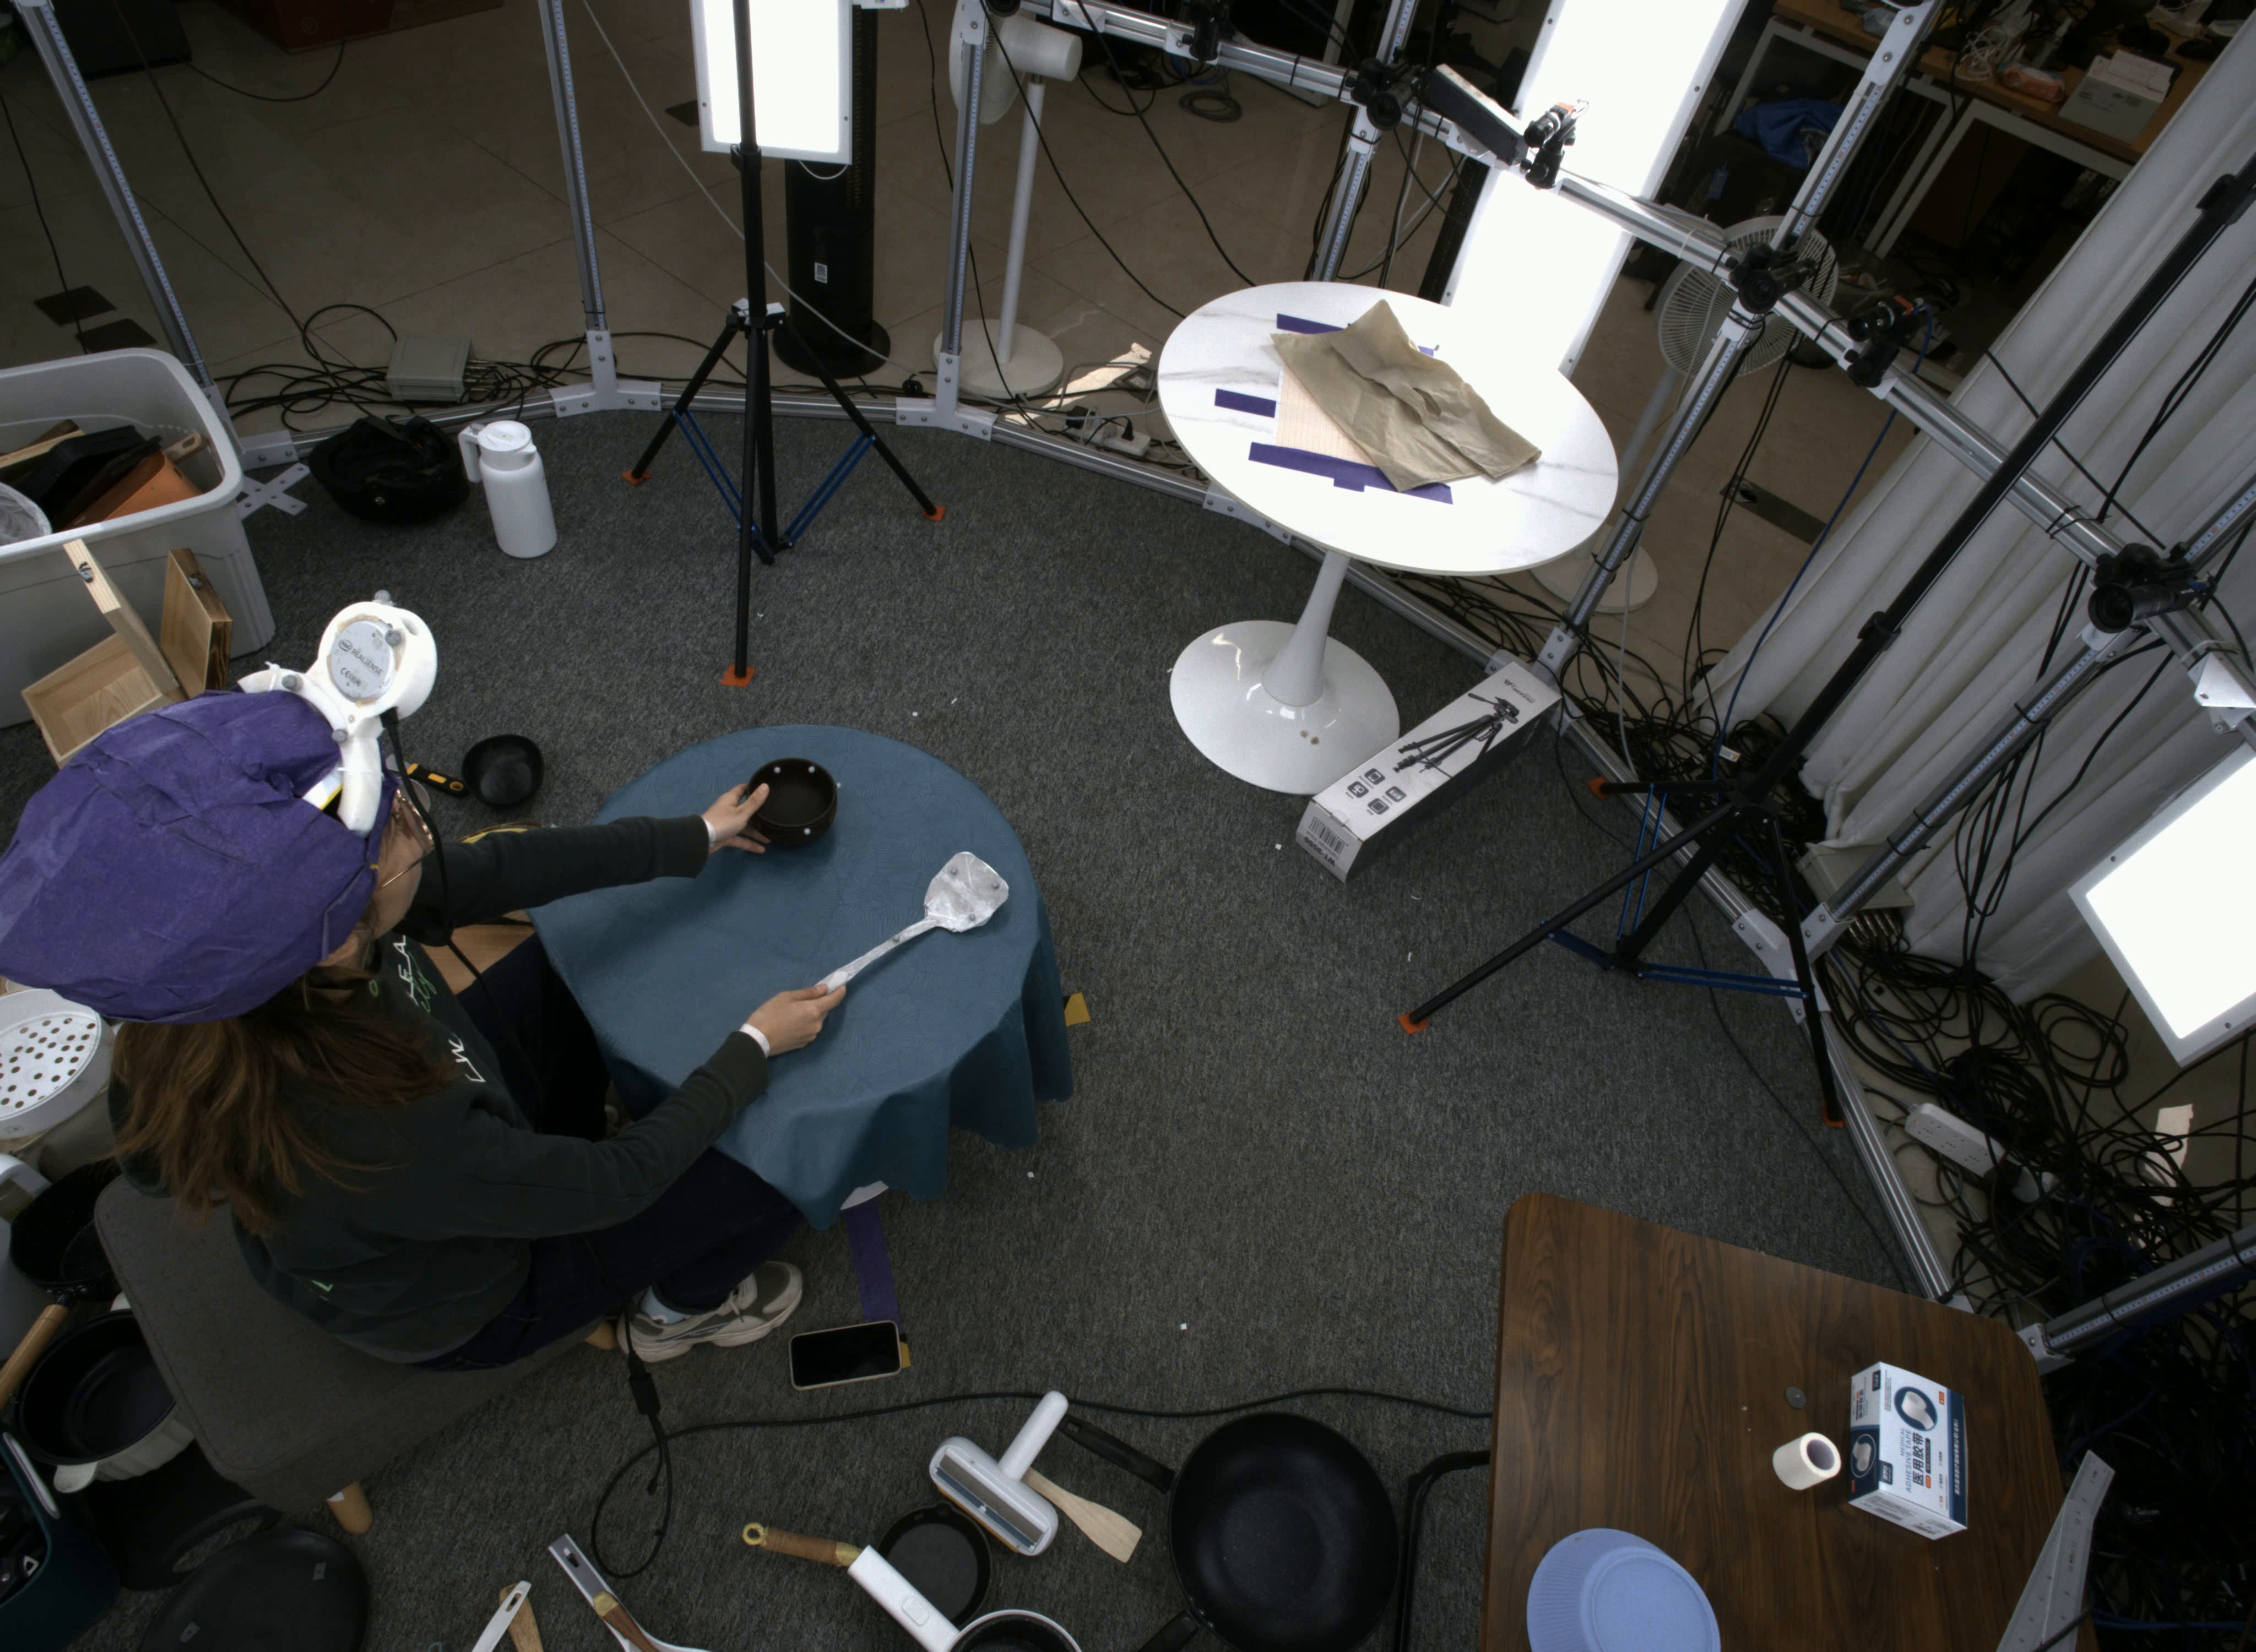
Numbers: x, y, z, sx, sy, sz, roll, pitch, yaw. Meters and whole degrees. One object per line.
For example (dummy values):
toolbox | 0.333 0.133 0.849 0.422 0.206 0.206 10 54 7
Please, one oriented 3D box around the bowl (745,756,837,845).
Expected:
bowl | -0.440 -0.026 1.698 0.117 0.071 0.116 6 52 -6

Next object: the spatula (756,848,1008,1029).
spatula | -0.306 0.145 1.620 0.096 0.045 0.366 43 52 18
